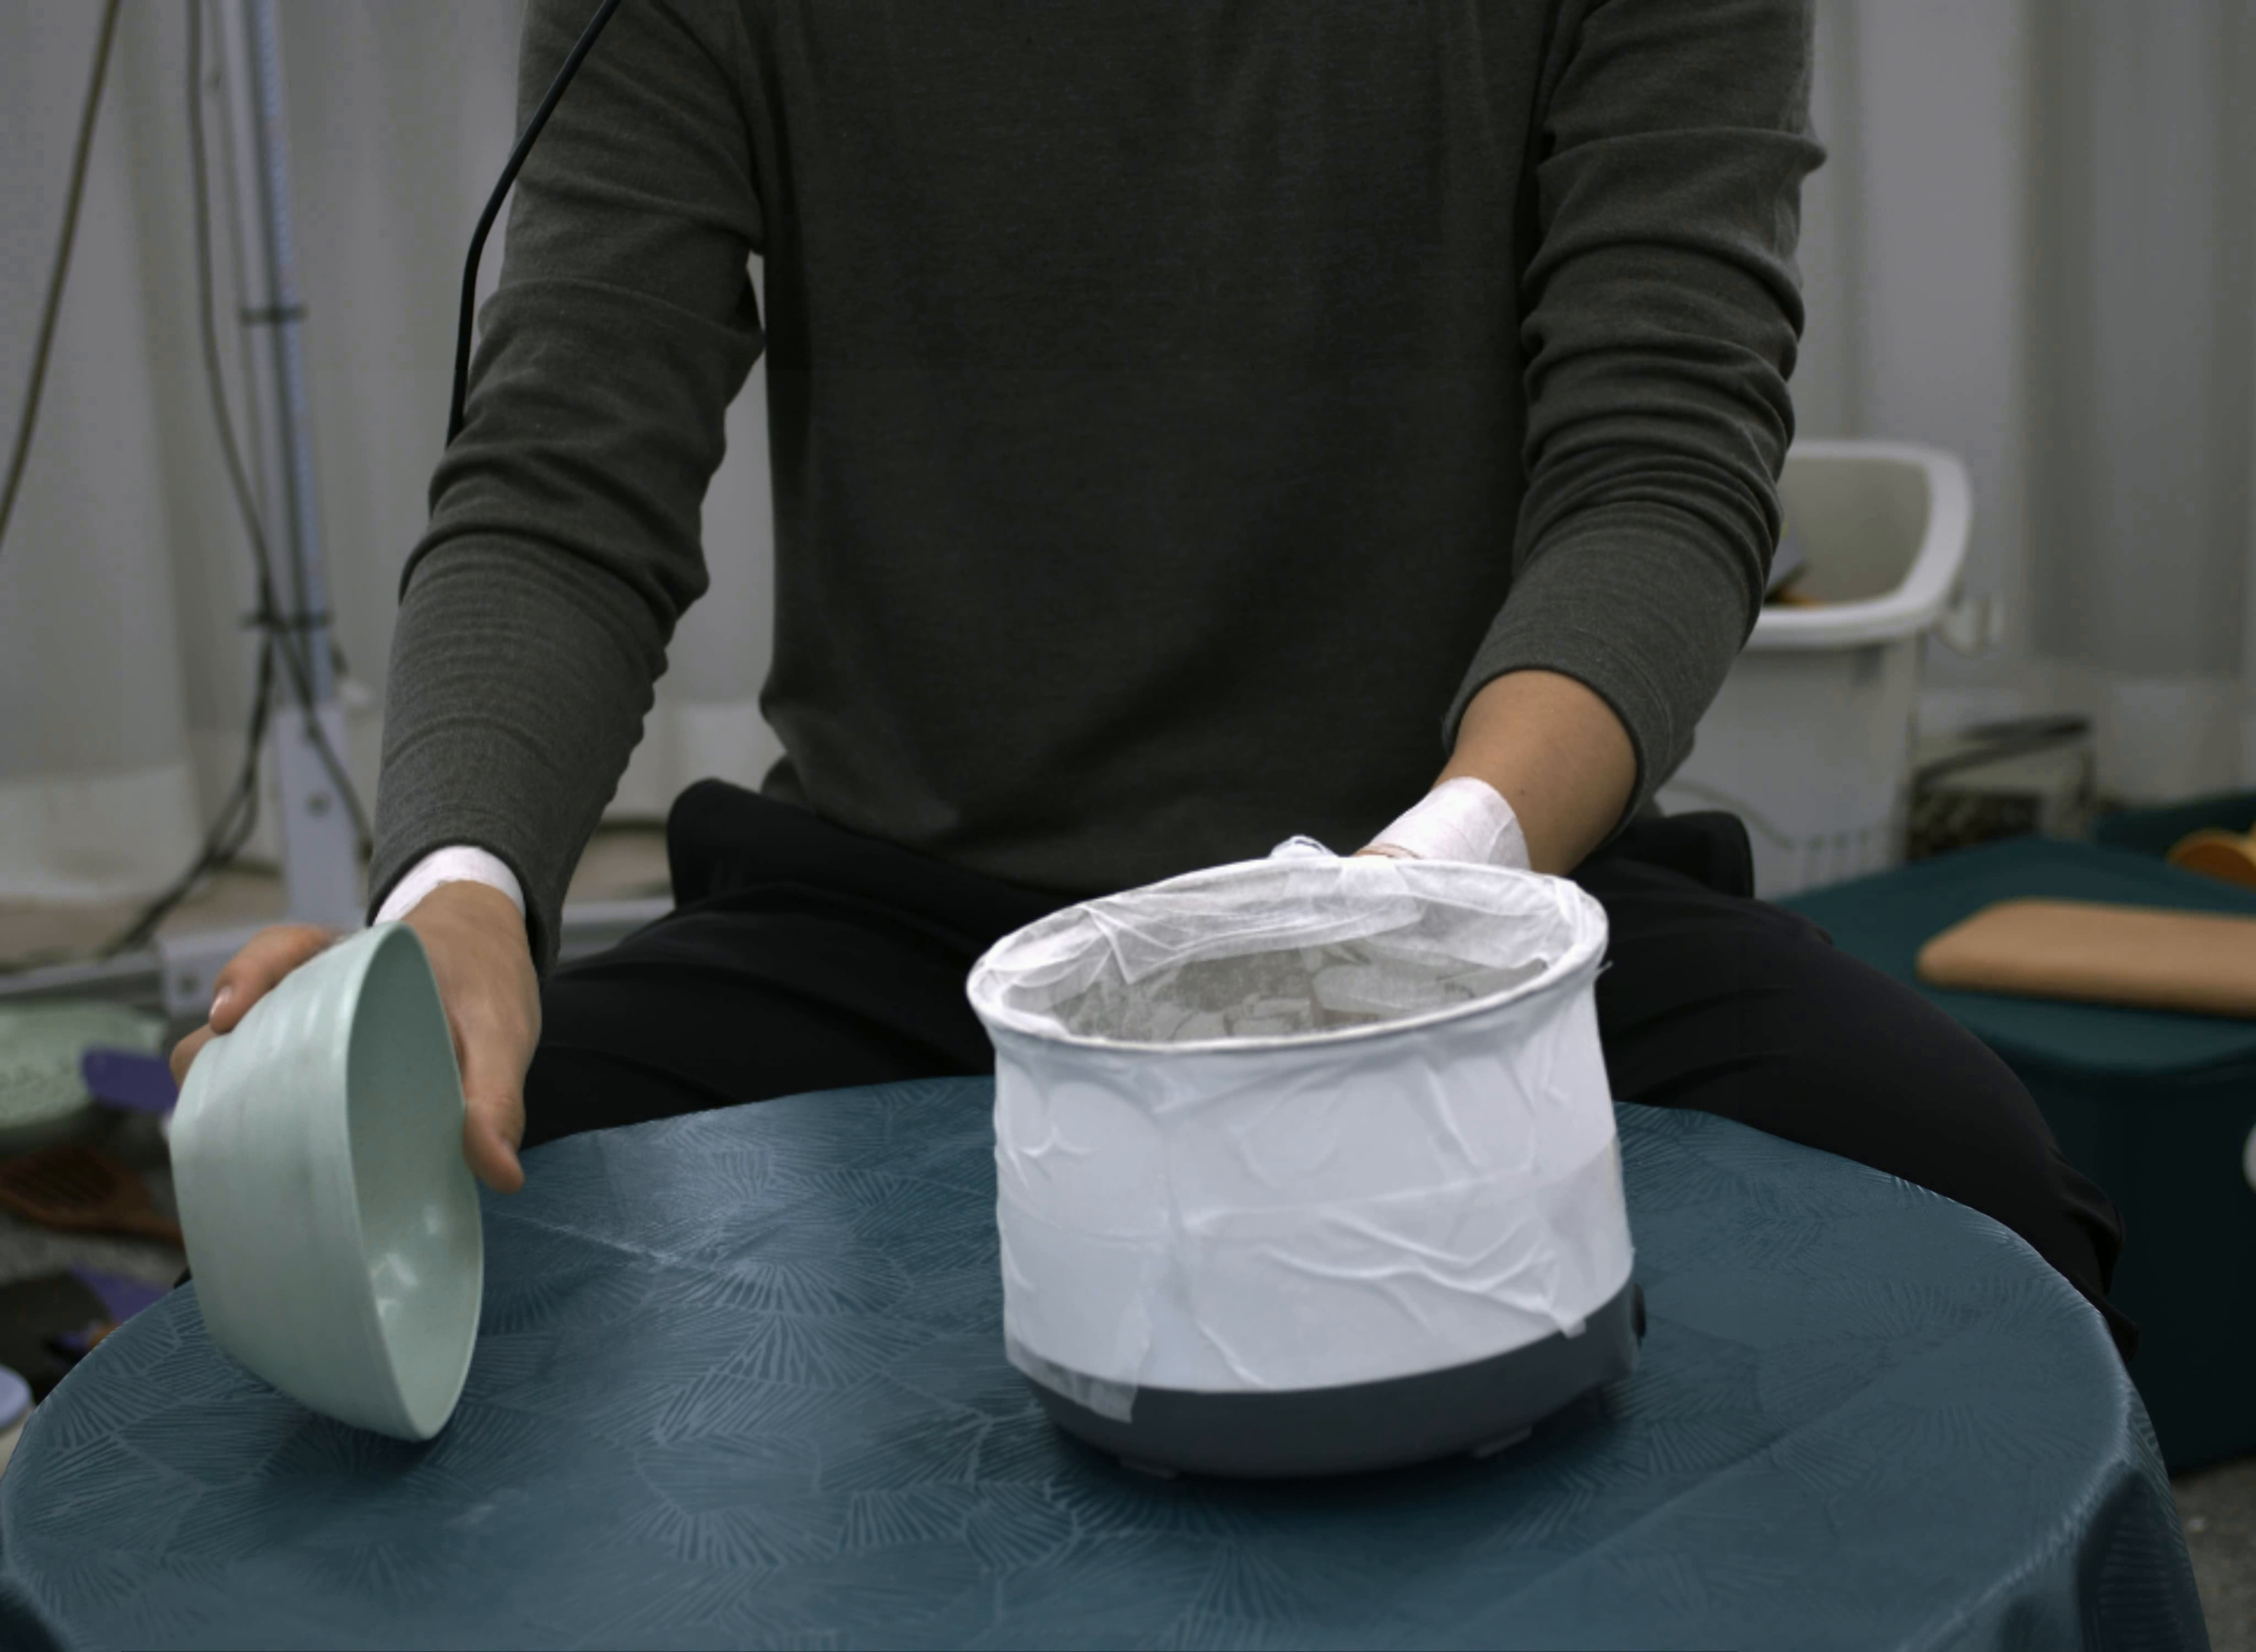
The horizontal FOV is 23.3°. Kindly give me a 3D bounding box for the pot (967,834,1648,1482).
[{"bbox_3d":[0.052,0.087,1.537,0.178,0.136,0.235,-5,14,5],"label":"pot"}]

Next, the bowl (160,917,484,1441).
[{"bbox_3d":[-0.229,0.101,1.542,0.058,0.151,0.152,-6,14,8],"label":"bowl"}]
